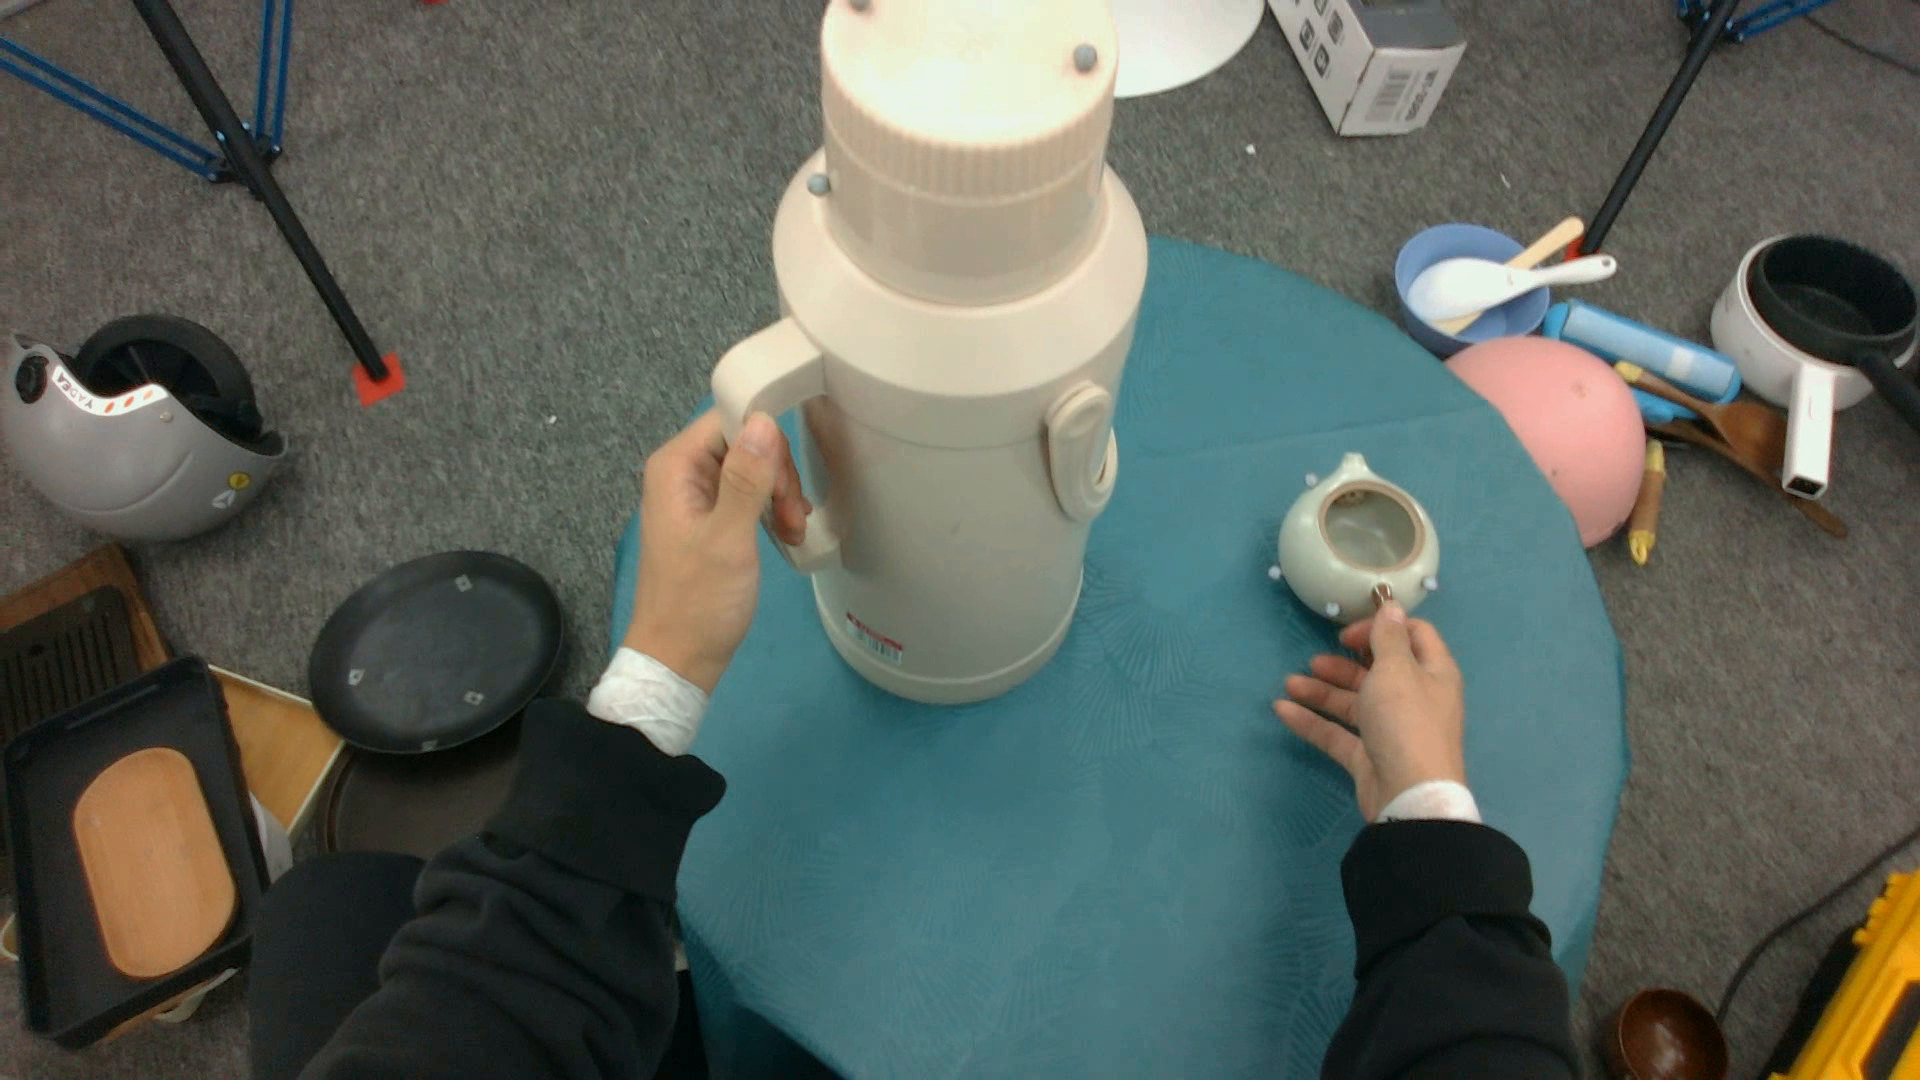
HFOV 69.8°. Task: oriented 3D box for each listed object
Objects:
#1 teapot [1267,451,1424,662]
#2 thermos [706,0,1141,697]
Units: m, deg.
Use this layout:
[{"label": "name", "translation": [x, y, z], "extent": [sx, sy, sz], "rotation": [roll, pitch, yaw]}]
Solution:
[{"label": "teapot", "translation": [0.230, 0.012, 0.815], "extent": [0.092, 0.059, 0.128], "rotation": [1, 58, -8]}, {"label": "thermos", "translation": [-0.019, -0.069, 0.655], "extent": [0.207, 0.404, 0.175], "rotation": [-32, 68, -20]}]
